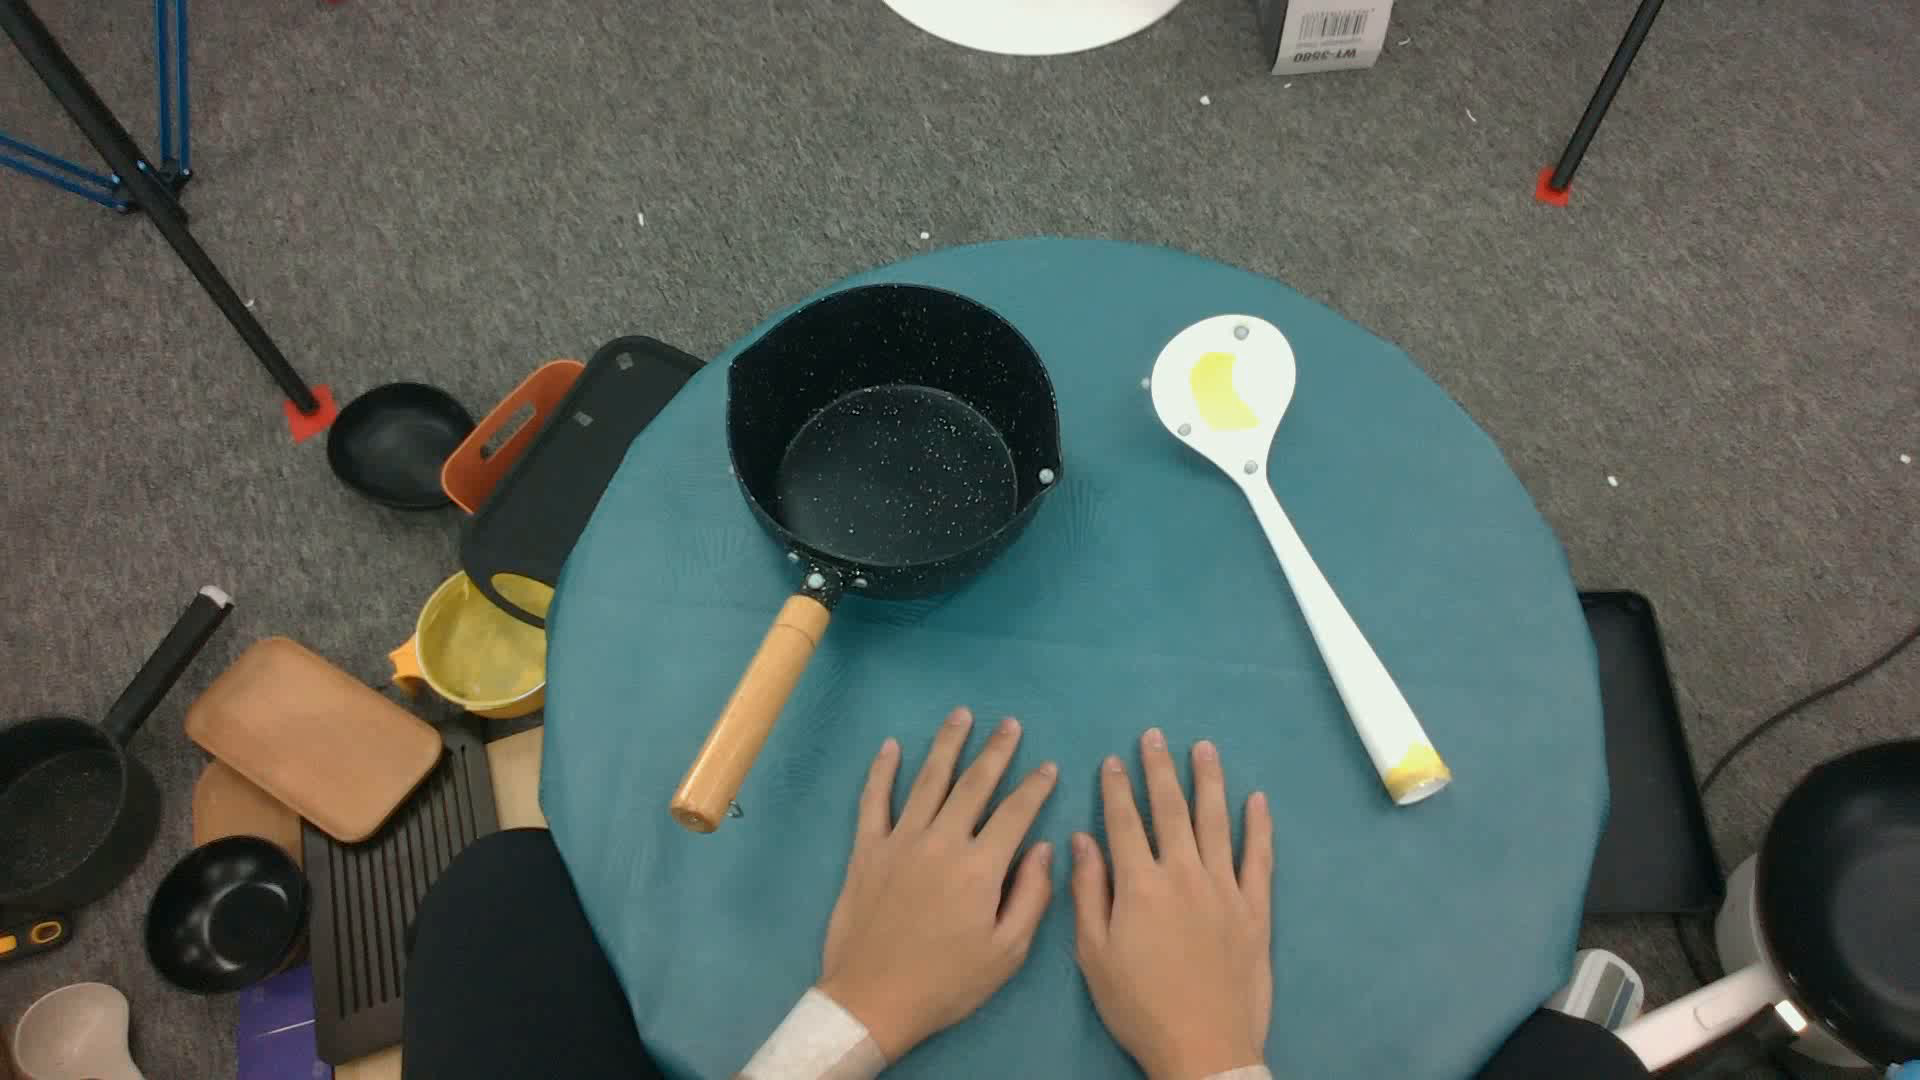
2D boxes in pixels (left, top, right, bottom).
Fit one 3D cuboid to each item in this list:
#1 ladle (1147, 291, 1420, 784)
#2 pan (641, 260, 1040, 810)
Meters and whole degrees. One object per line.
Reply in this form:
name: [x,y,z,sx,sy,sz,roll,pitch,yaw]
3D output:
ladle: [0.190,-0.007,0.788,0.090,0.069,0.293,-15,66,-14]
pan: [-0.078,0.001,0.751,0.207,0.108,0.344,18,63,6]
